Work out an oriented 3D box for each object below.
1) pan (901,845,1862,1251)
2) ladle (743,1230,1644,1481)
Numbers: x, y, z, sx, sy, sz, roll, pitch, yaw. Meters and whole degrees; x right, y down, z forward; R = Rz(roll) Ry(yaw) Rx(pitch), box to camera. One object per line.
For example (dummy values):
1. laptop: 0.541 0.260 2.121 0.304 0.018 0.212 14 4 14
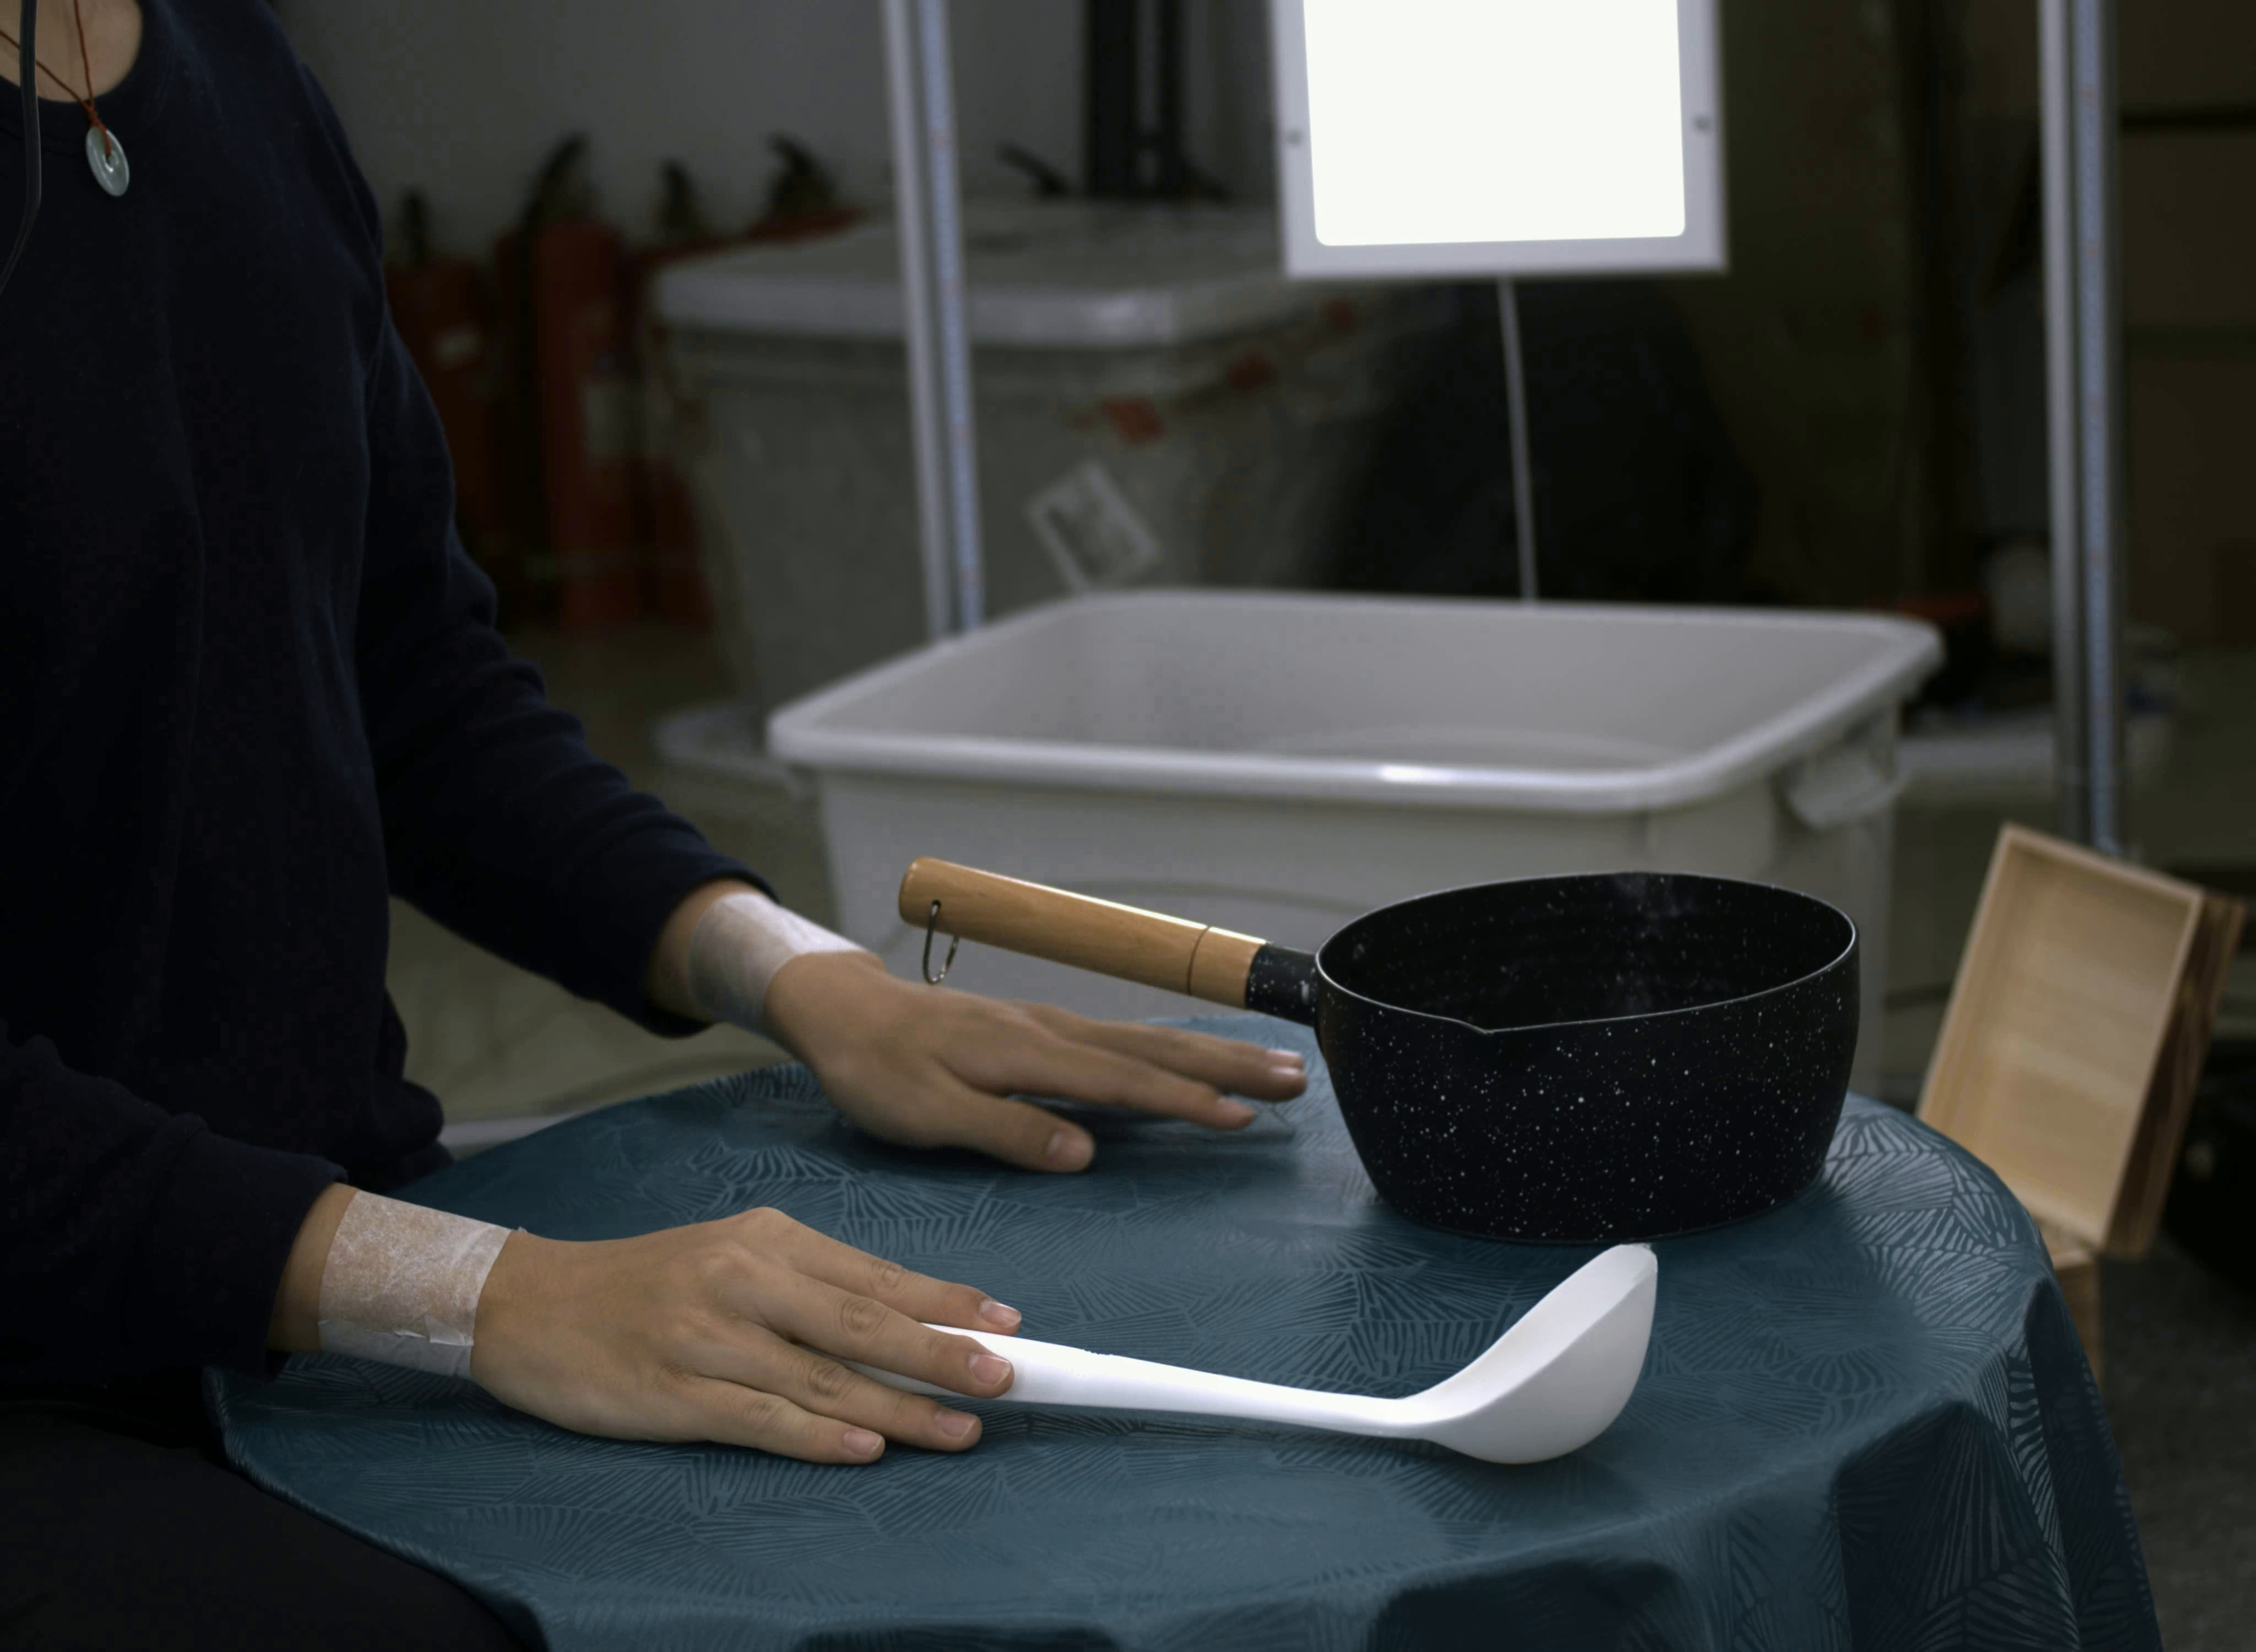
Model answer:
1. pan: 0.082 0.066 1.884 0.347 0.108 0.204 2 17 21
2. ladle: 0.016 0.155 1.644 0.298 0.070 0.088 1 31 26
